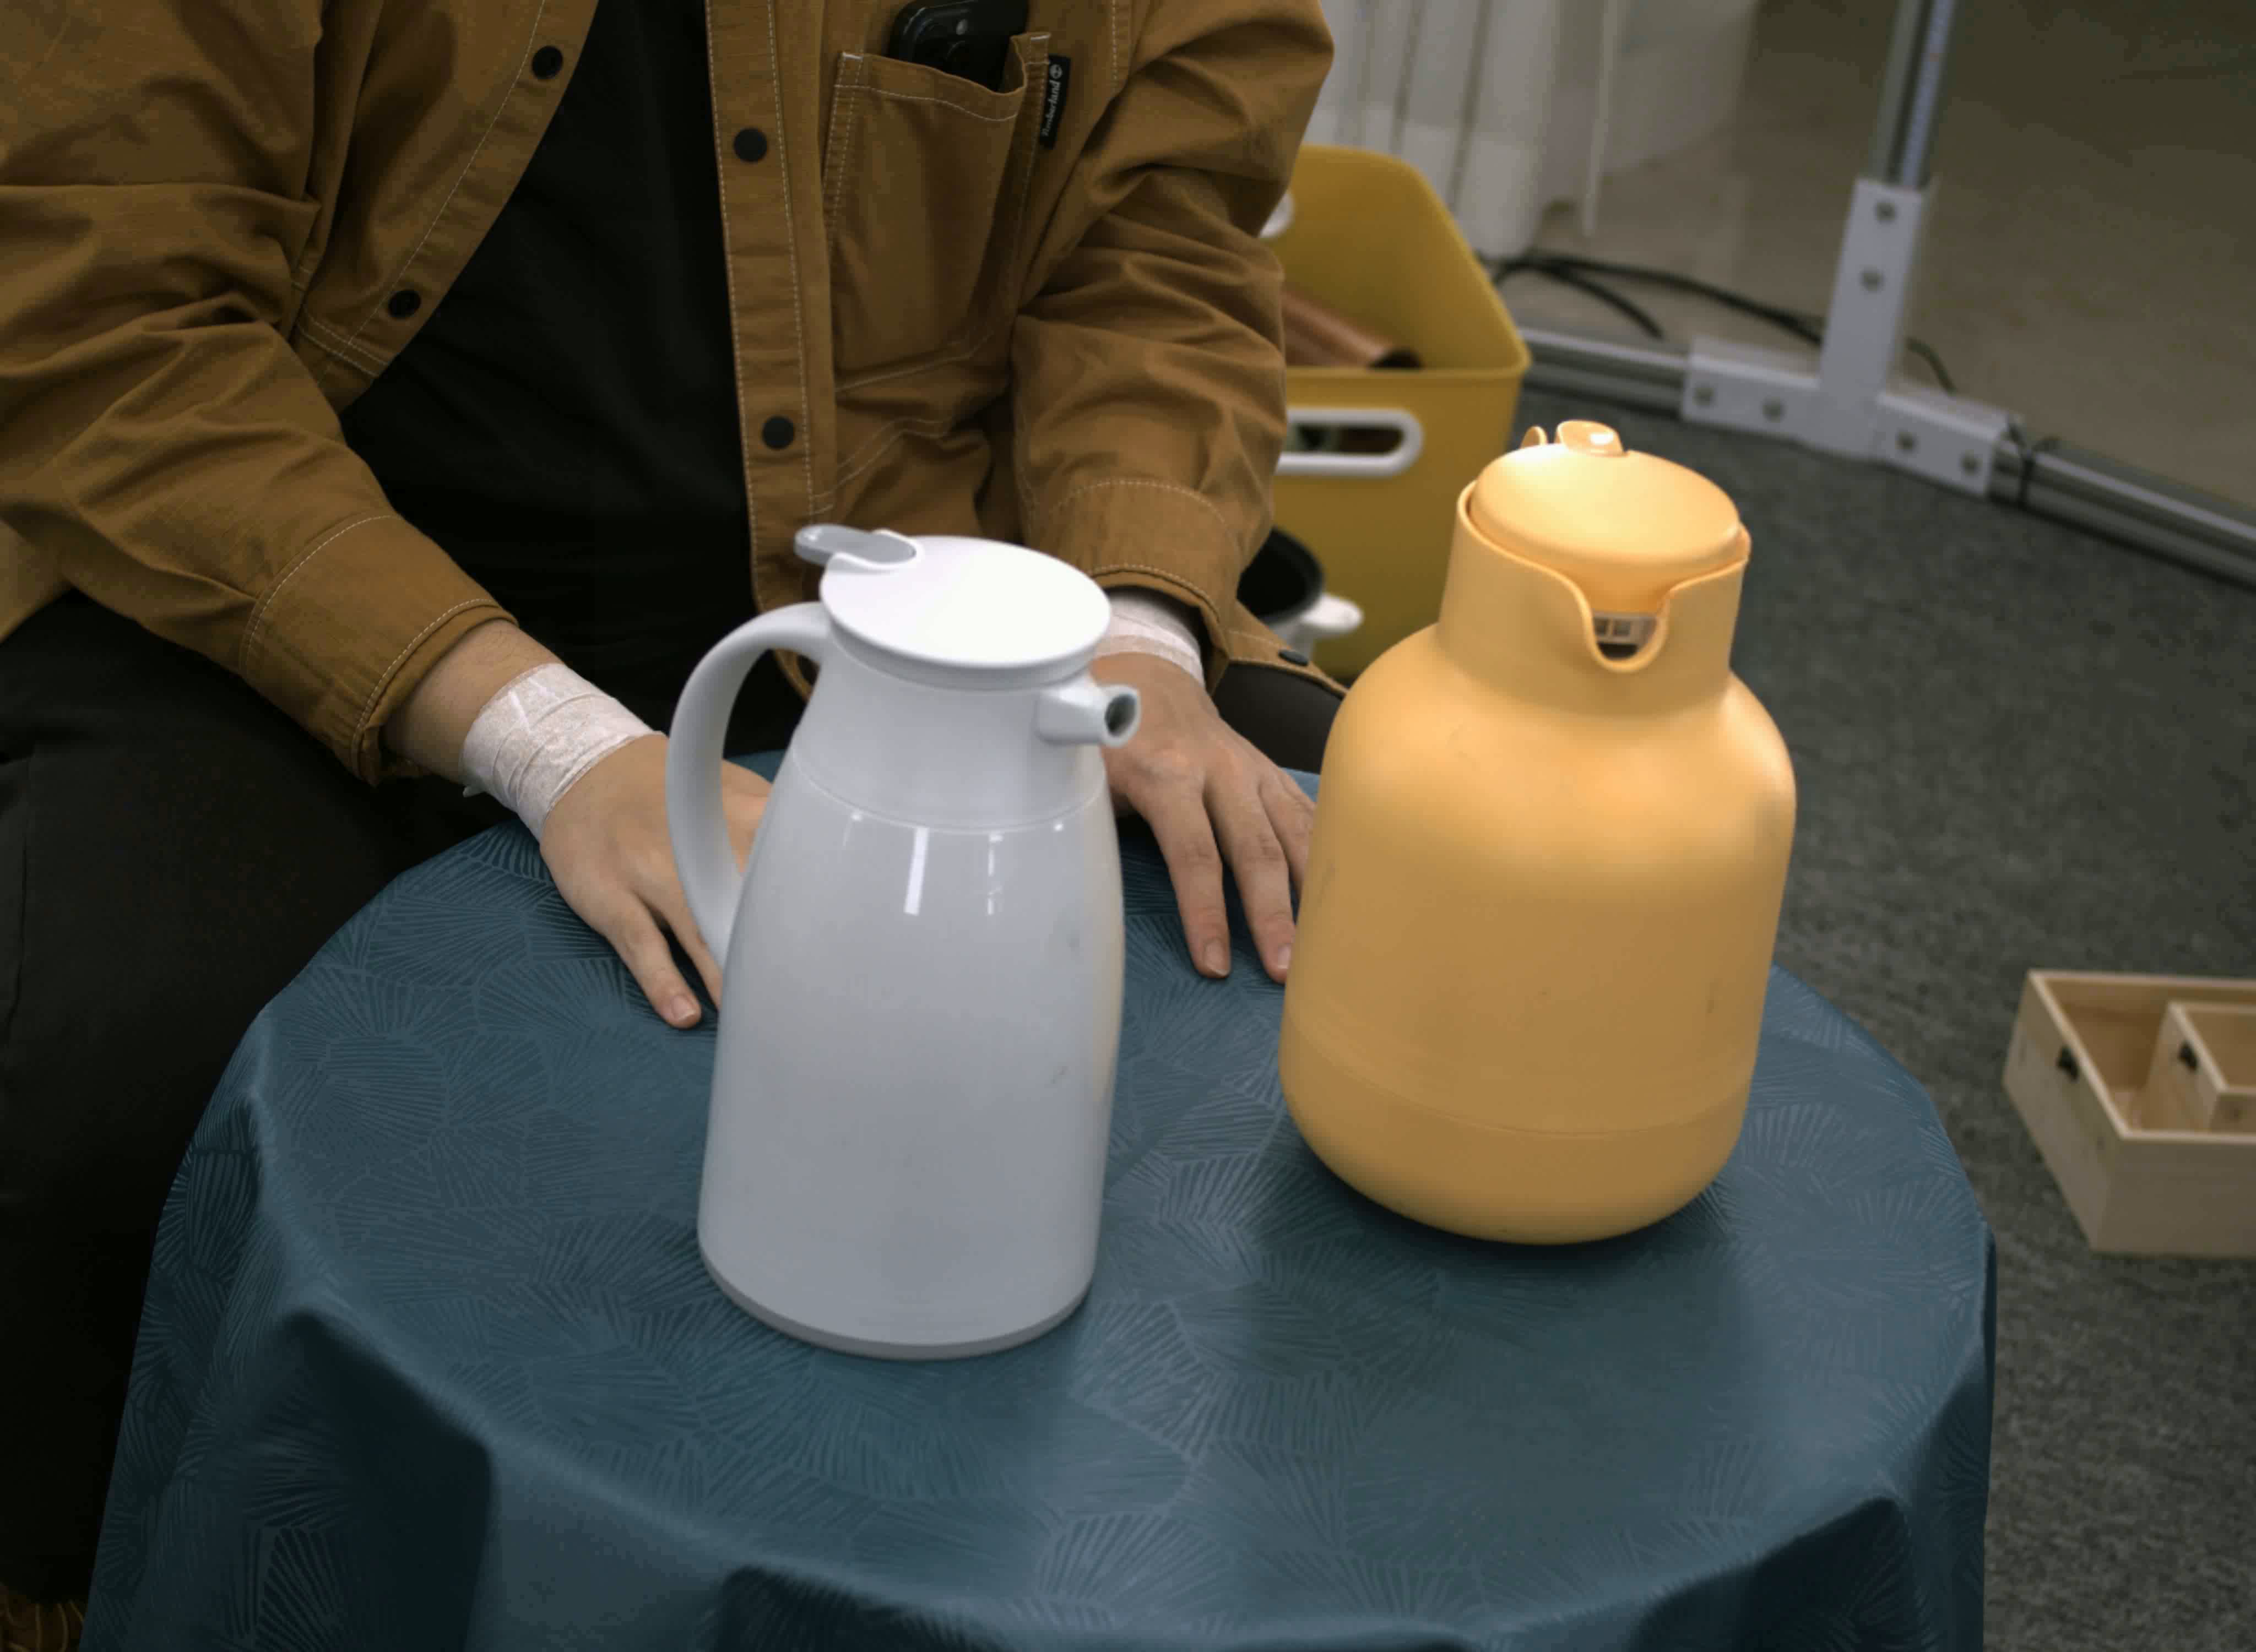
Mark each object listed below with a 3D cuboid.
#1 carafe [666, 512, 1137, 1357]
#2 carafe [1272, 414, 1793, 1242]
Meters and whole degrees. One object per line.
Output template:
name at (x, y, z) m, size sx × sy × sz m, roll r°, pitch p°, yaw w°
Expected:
carafe at (-0.080, 0.025, 1.707) m, size 0.168 × 0.248 × 0.132 m, roll 21°, pitch 30°, yaw 28°
carafe at (0.143, -0.008, 1.810) m, size 0.163 × 0.259 × 0.203 m, roll 7°, pitch 28°, yaw -4°
